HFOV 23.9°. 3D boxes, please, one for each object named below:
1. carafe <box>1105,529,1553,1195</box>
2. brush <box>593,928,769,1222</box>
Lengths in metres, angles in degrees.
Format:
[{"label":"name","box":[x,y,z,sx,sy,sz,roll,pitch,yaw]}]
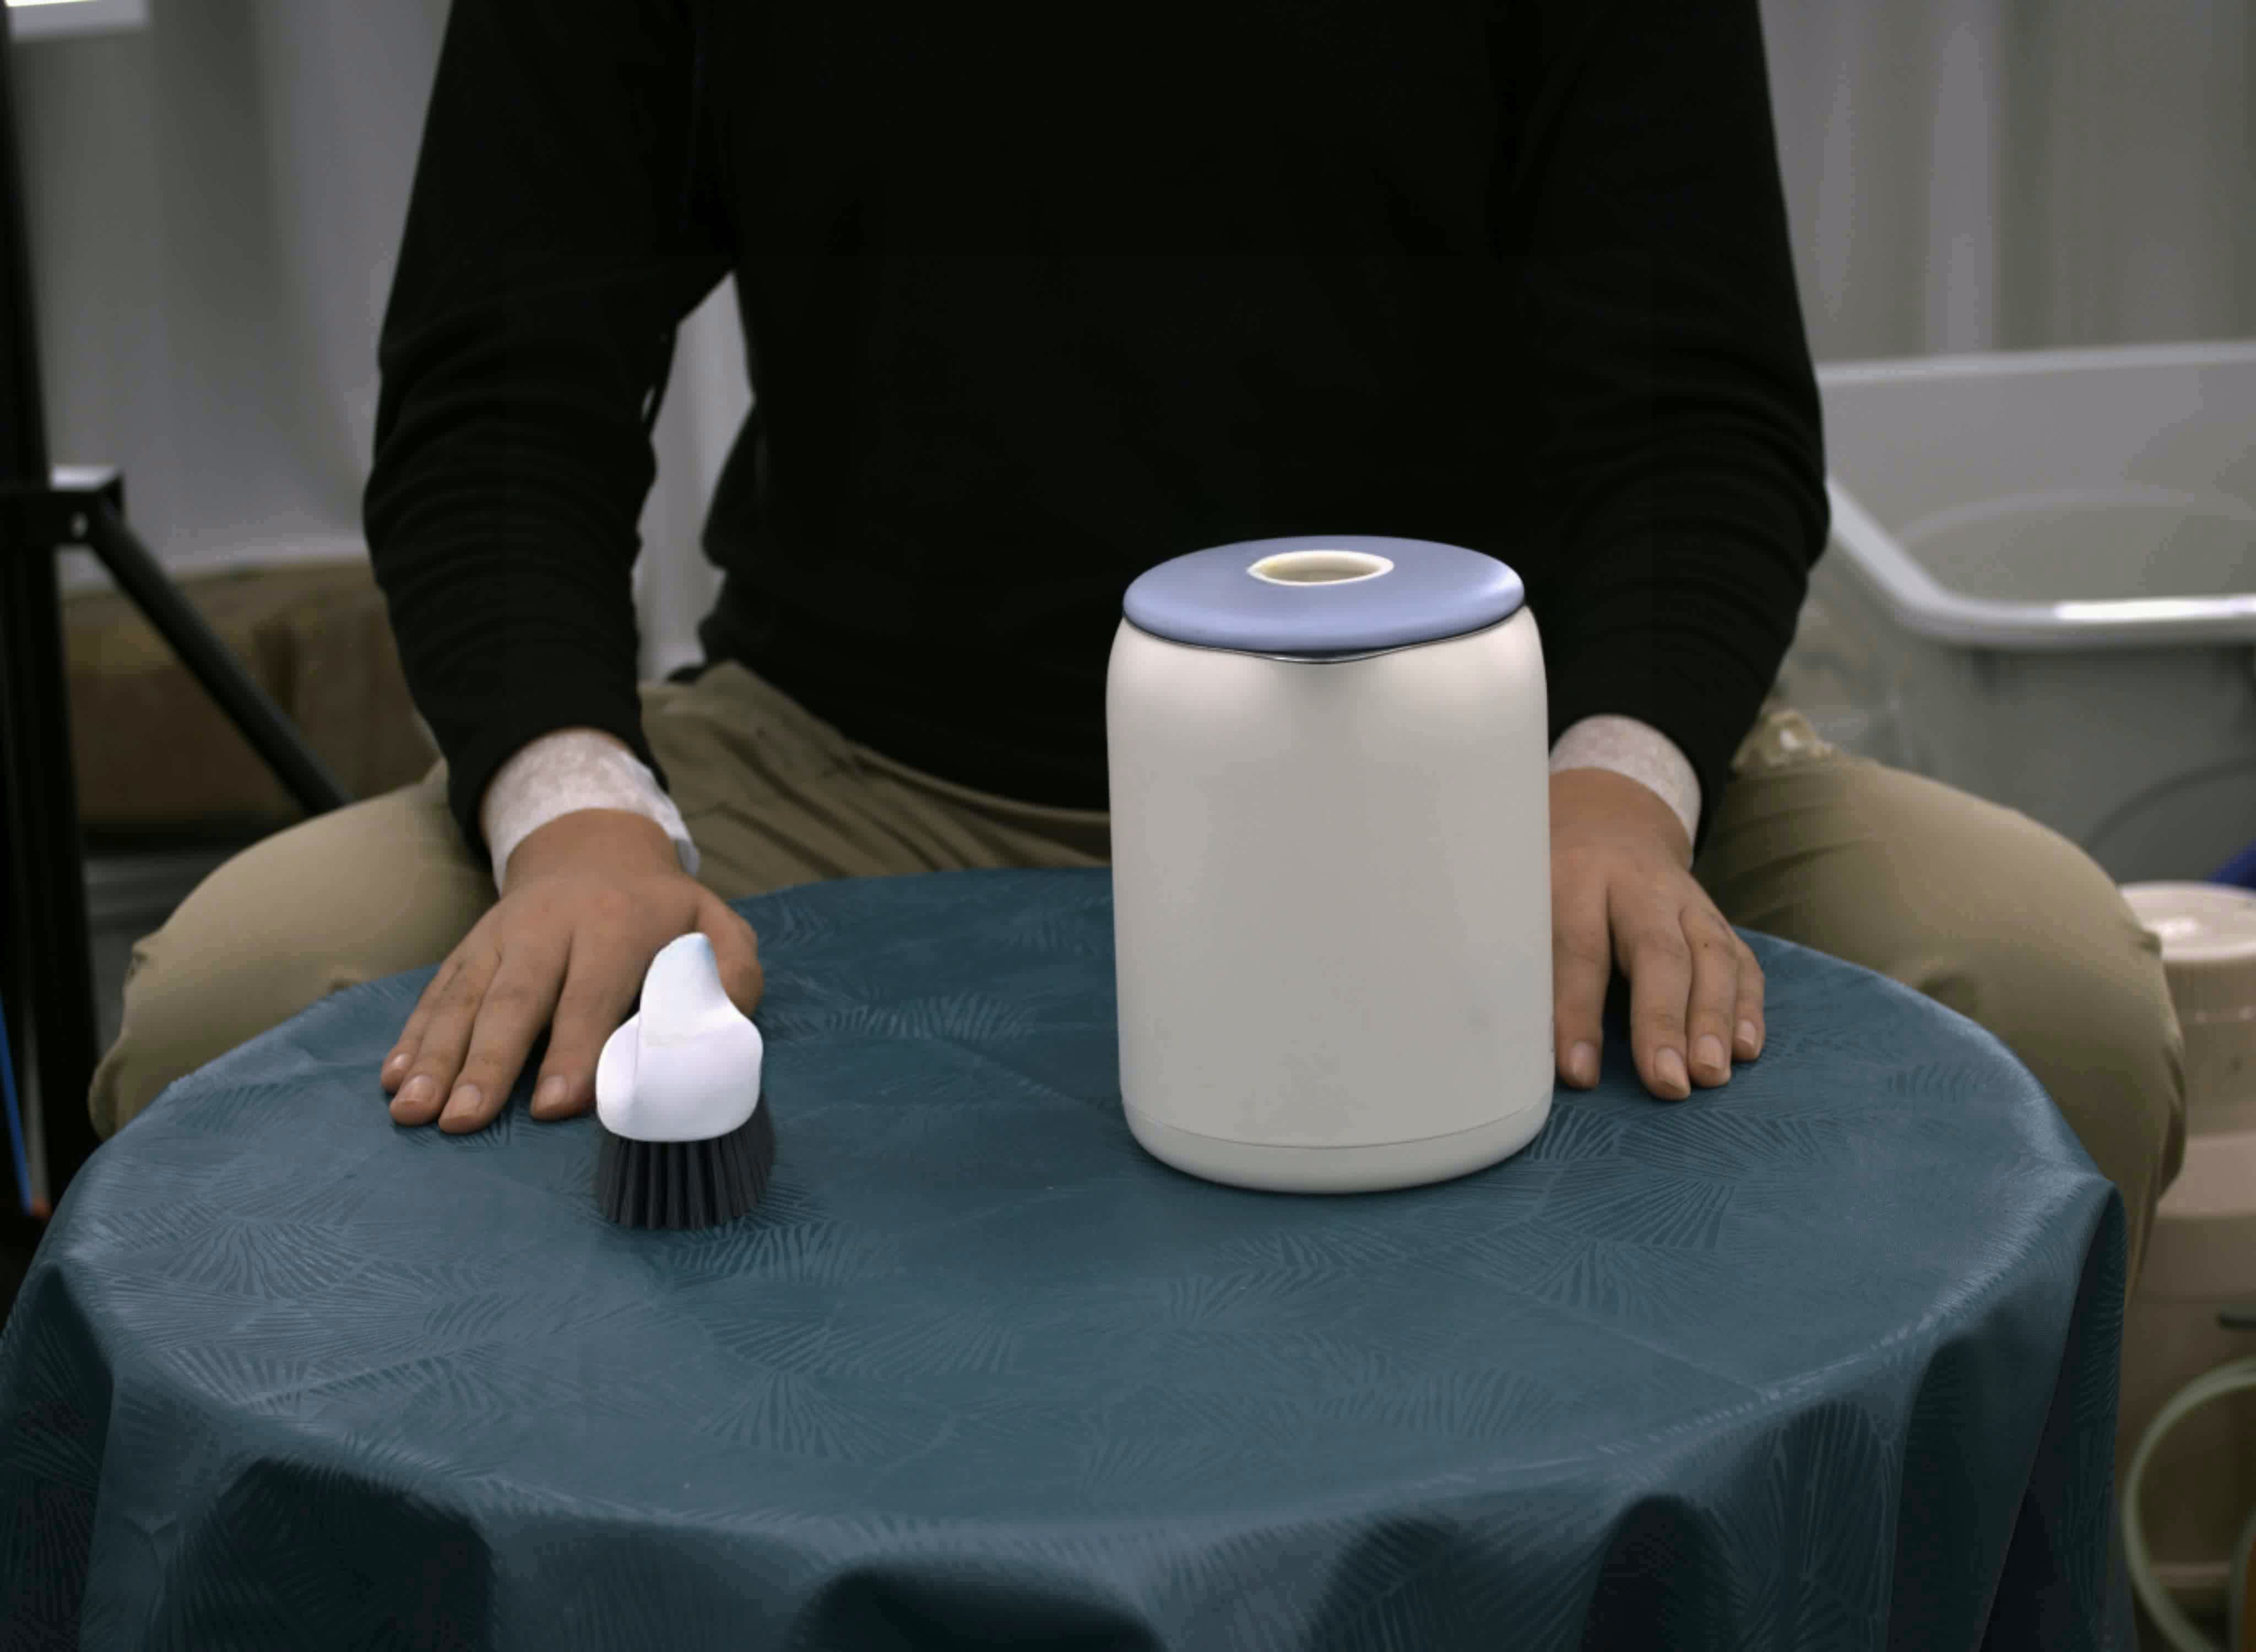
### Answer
[{"label":"carafe","box":[0.060,0.004,1.604,0.132,0.182,0.191,-2,14,1]},{"label":"brush","box":[-0.134,0.069,1.583,0.050,0.072,0.099,-2,15,2]}]
